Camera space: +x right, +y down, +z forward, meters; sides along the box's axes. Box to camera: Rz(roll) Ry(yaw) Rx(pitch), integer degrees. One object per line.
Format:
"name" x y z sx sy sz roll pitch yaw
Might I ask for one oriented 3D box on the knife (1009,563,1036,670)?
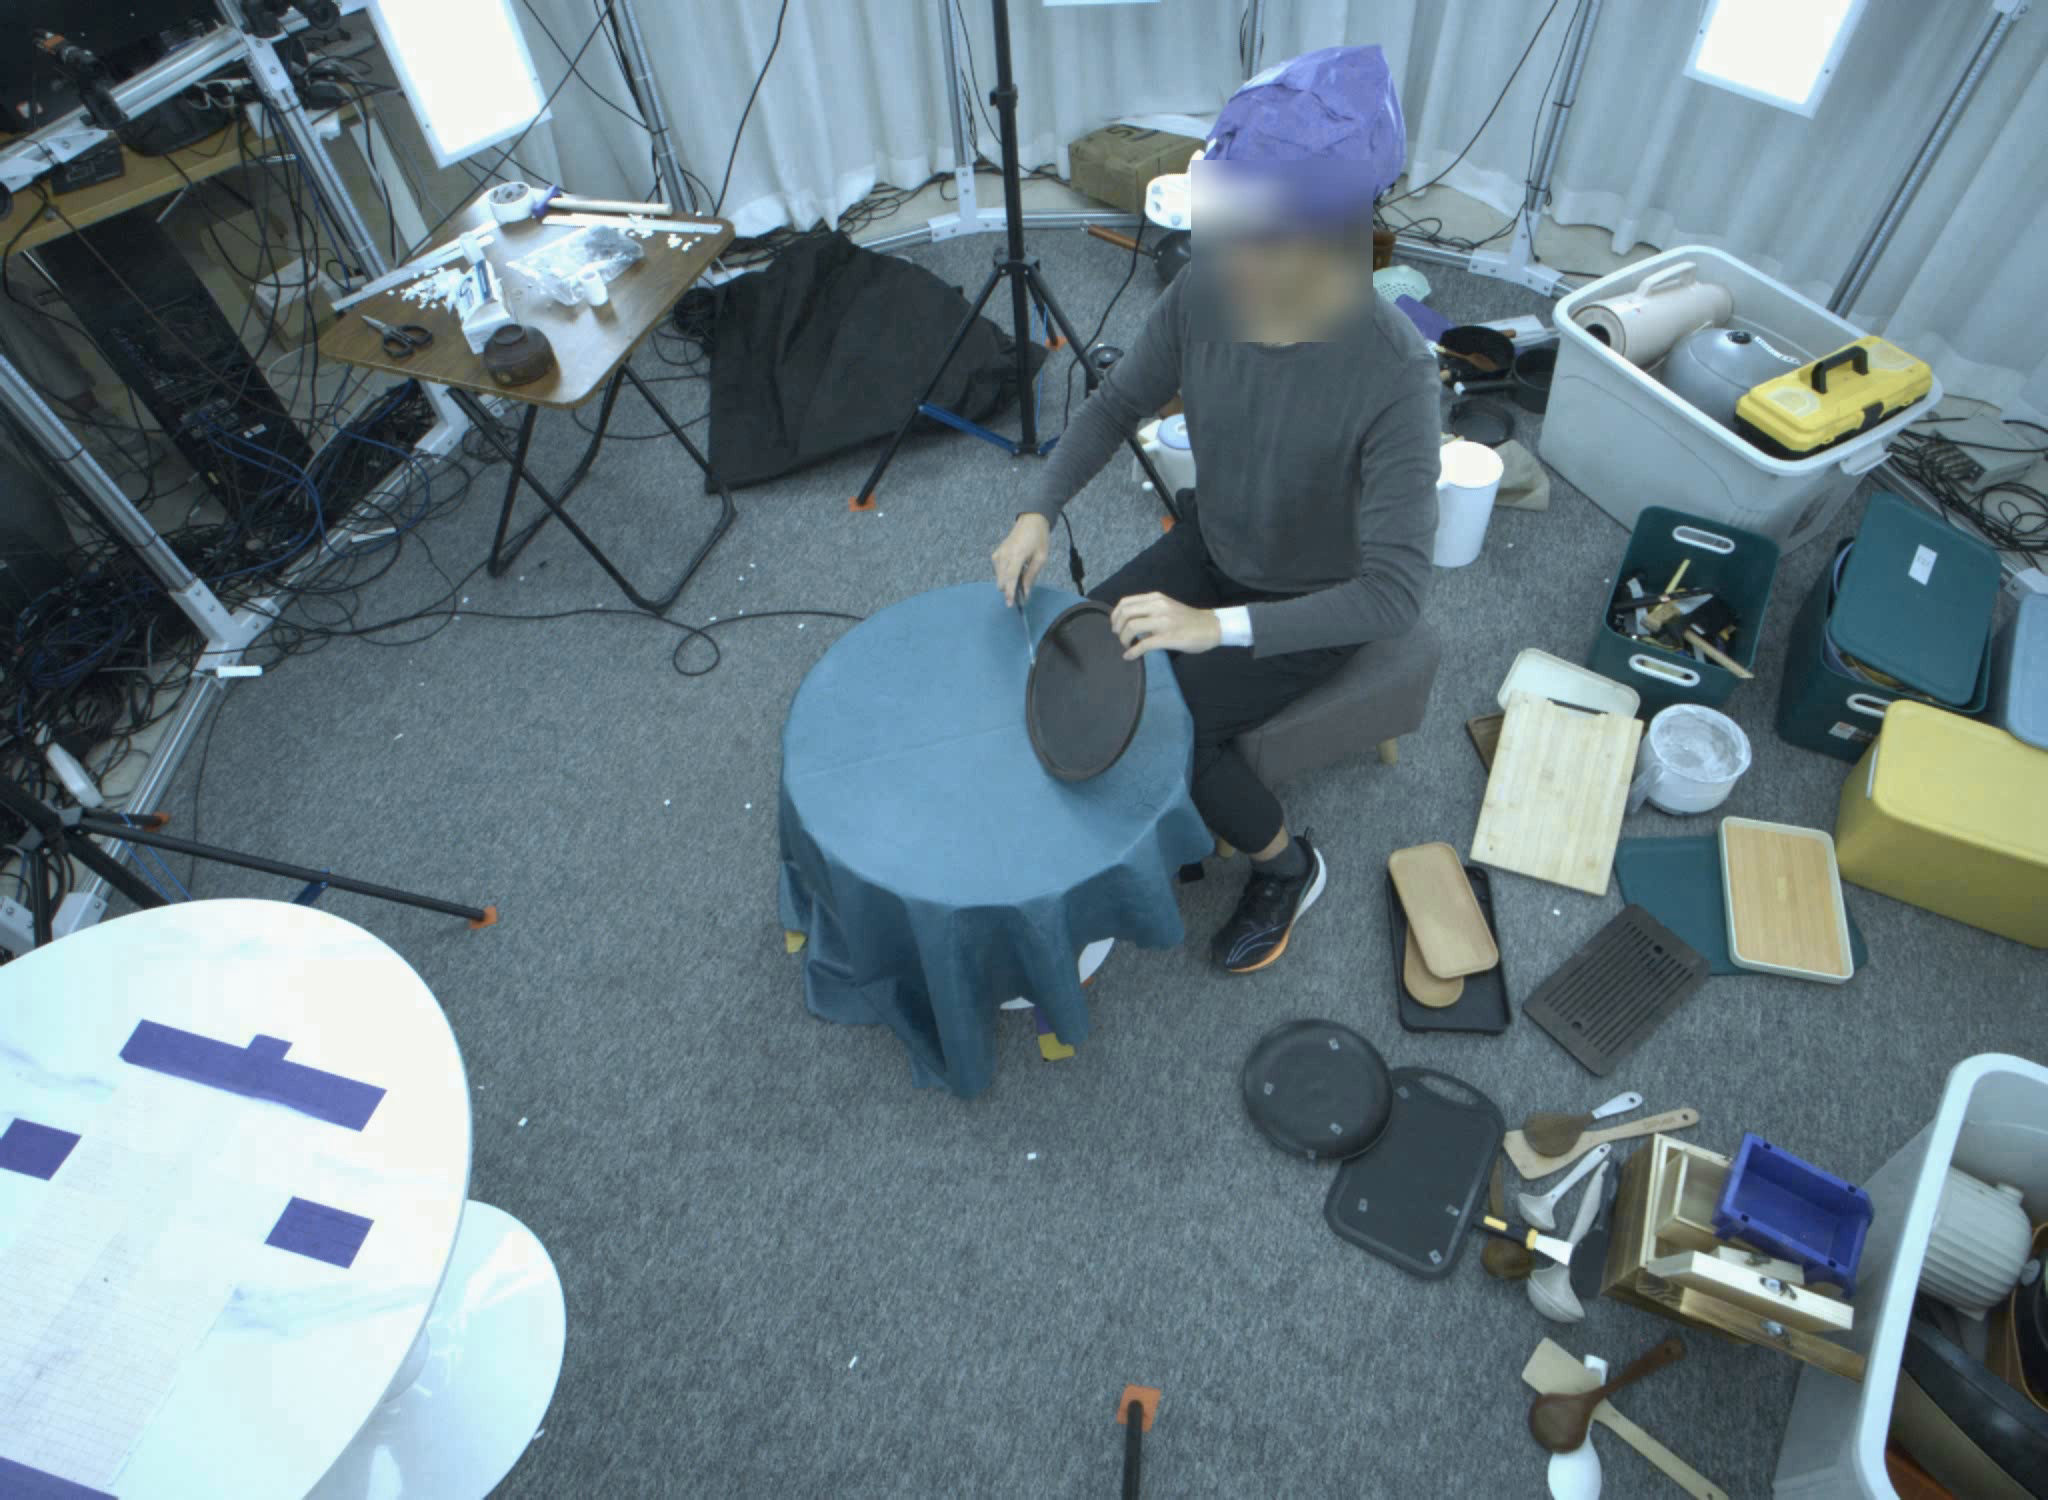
"knife" -0.001 -0.202 1.809 0.016 0.024 0.234 -4 48 -8

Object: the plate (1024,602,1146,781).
"plate" 0.084 -0.082 1.726 0.029 0.254 0.250 3 46 -37
